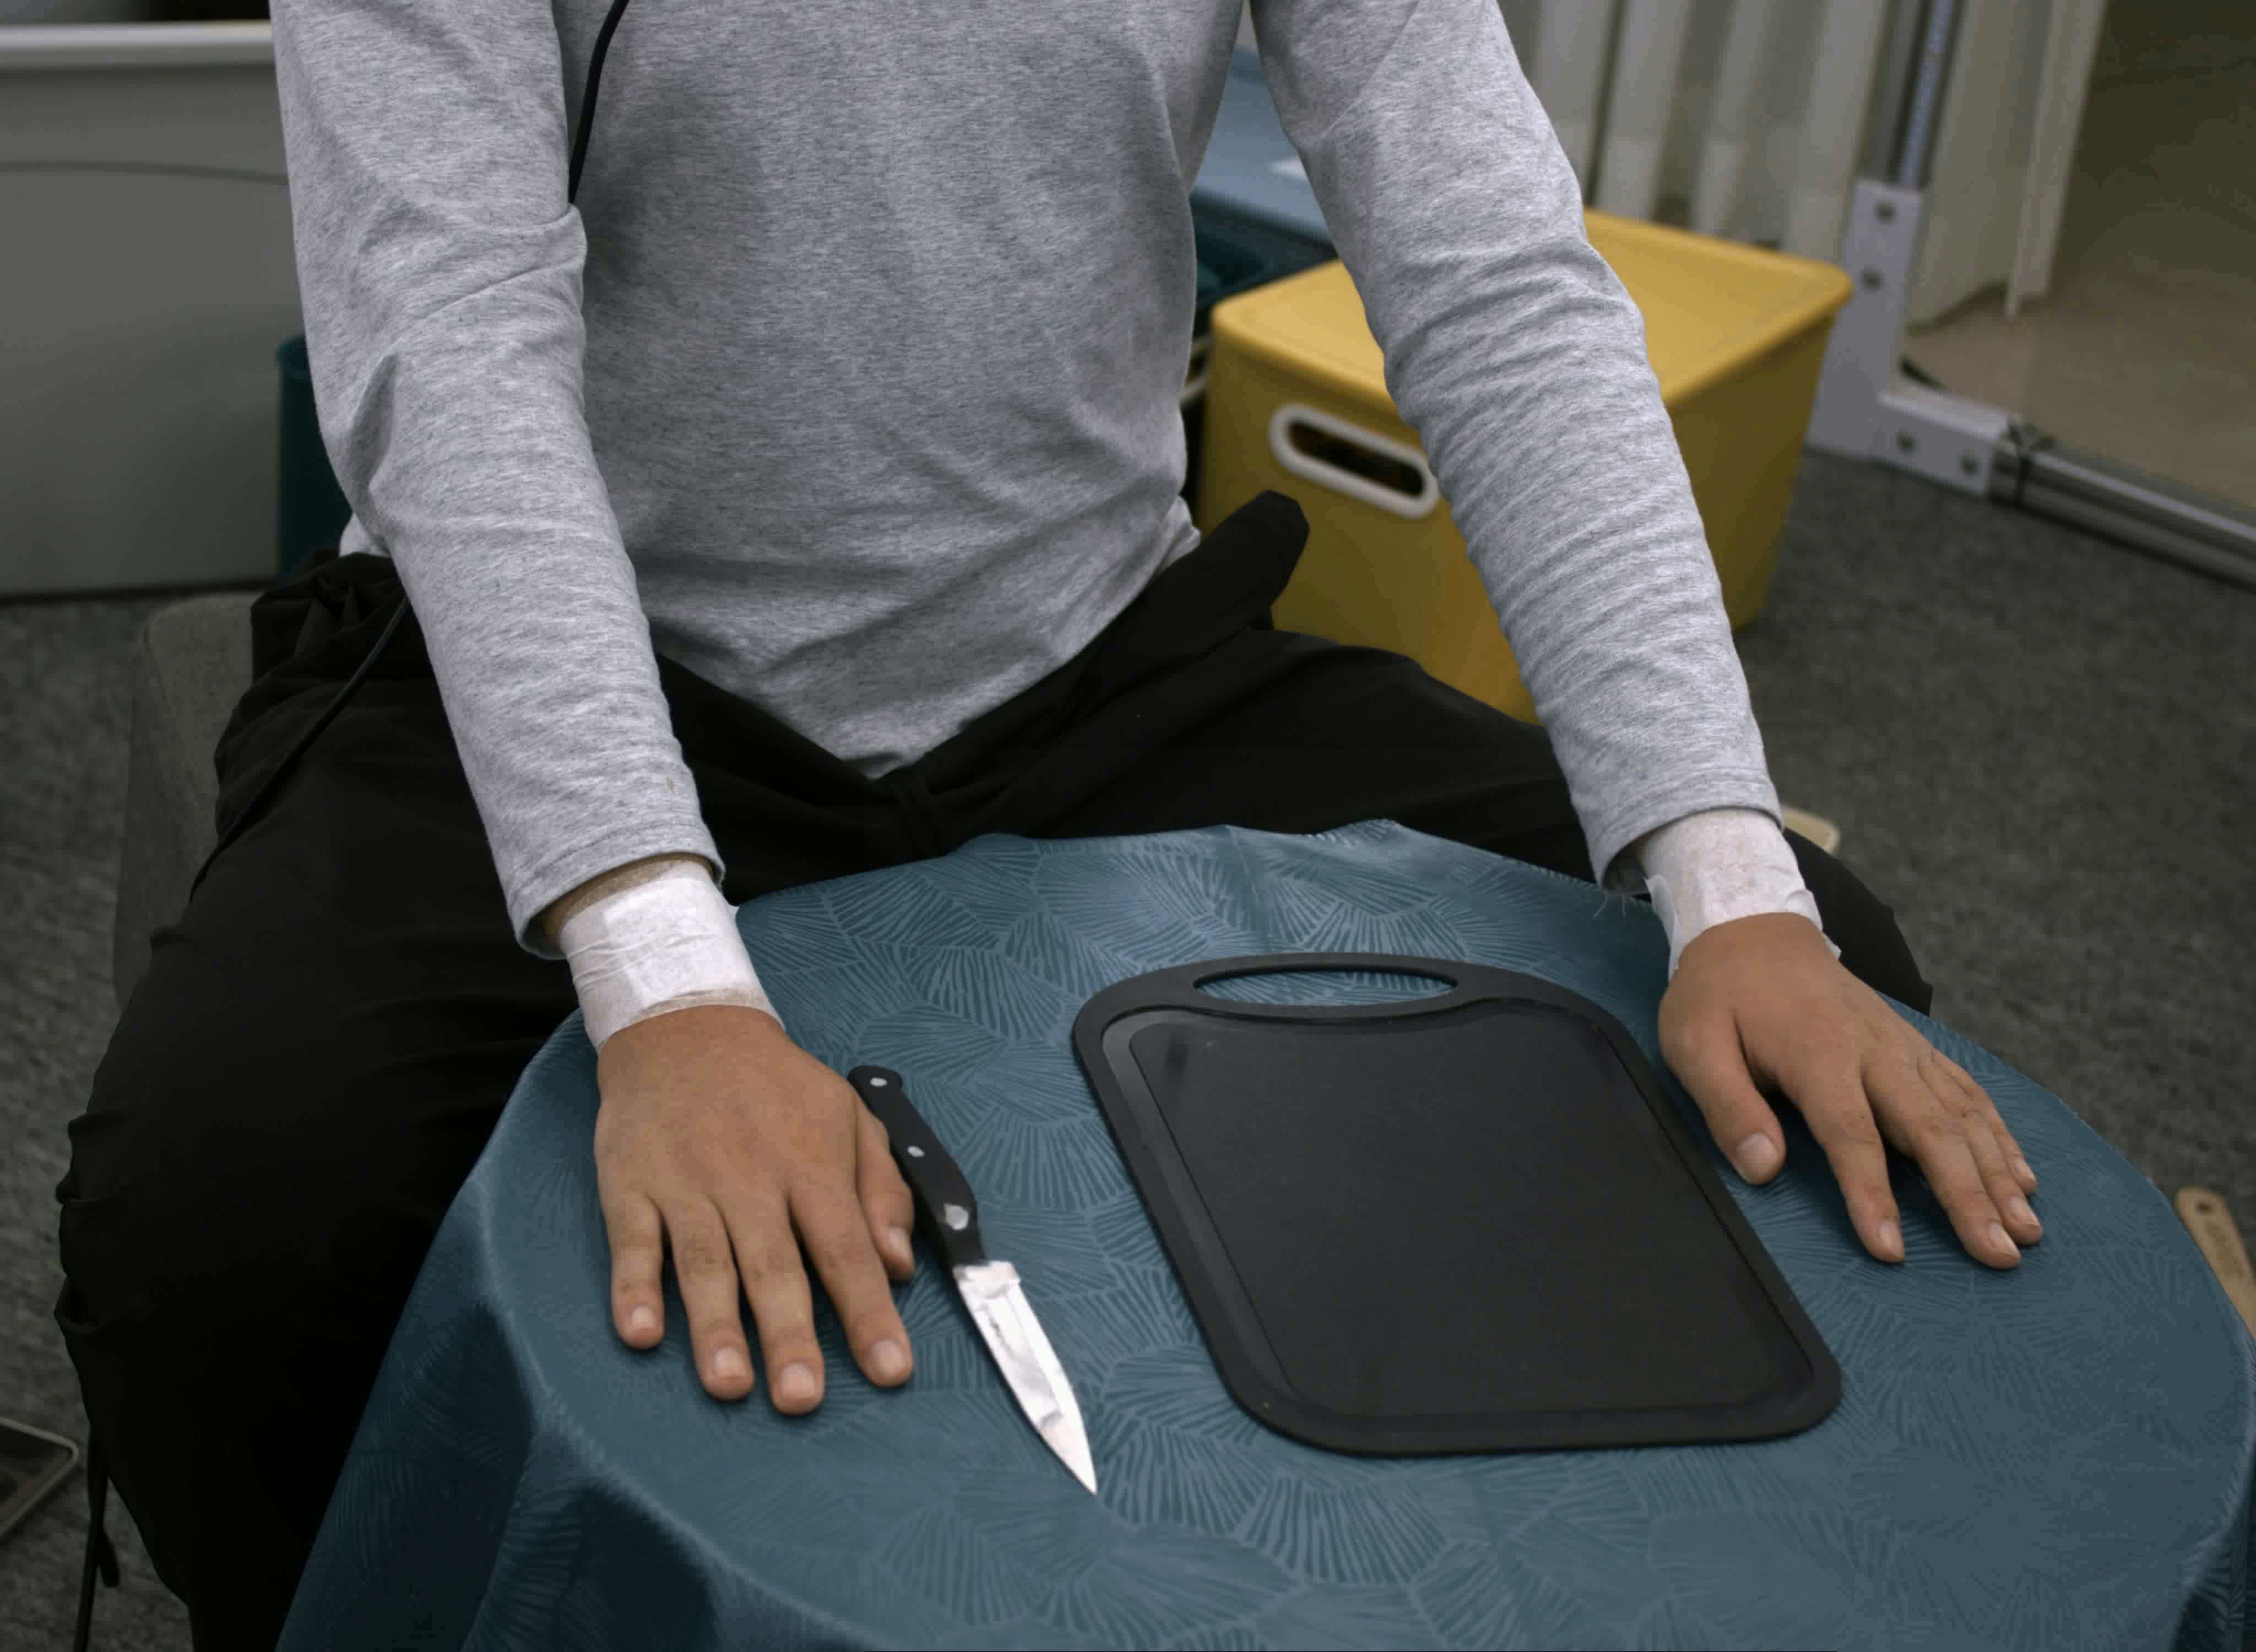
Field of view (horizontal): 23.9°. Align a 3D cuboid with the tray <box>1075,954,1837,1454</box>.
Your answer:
[{"bbox_3d":[0.104,0.122,1.827,0.210,0.010,0.328,0,27,-14],"label":"tray"}]

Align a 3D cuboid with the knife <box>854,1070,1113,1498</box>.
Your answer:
[{"bbox_3d":[-0.049,0.148,1.735,0.024,0.016,0.240,-5,32,-20],"label":"knife"}]
